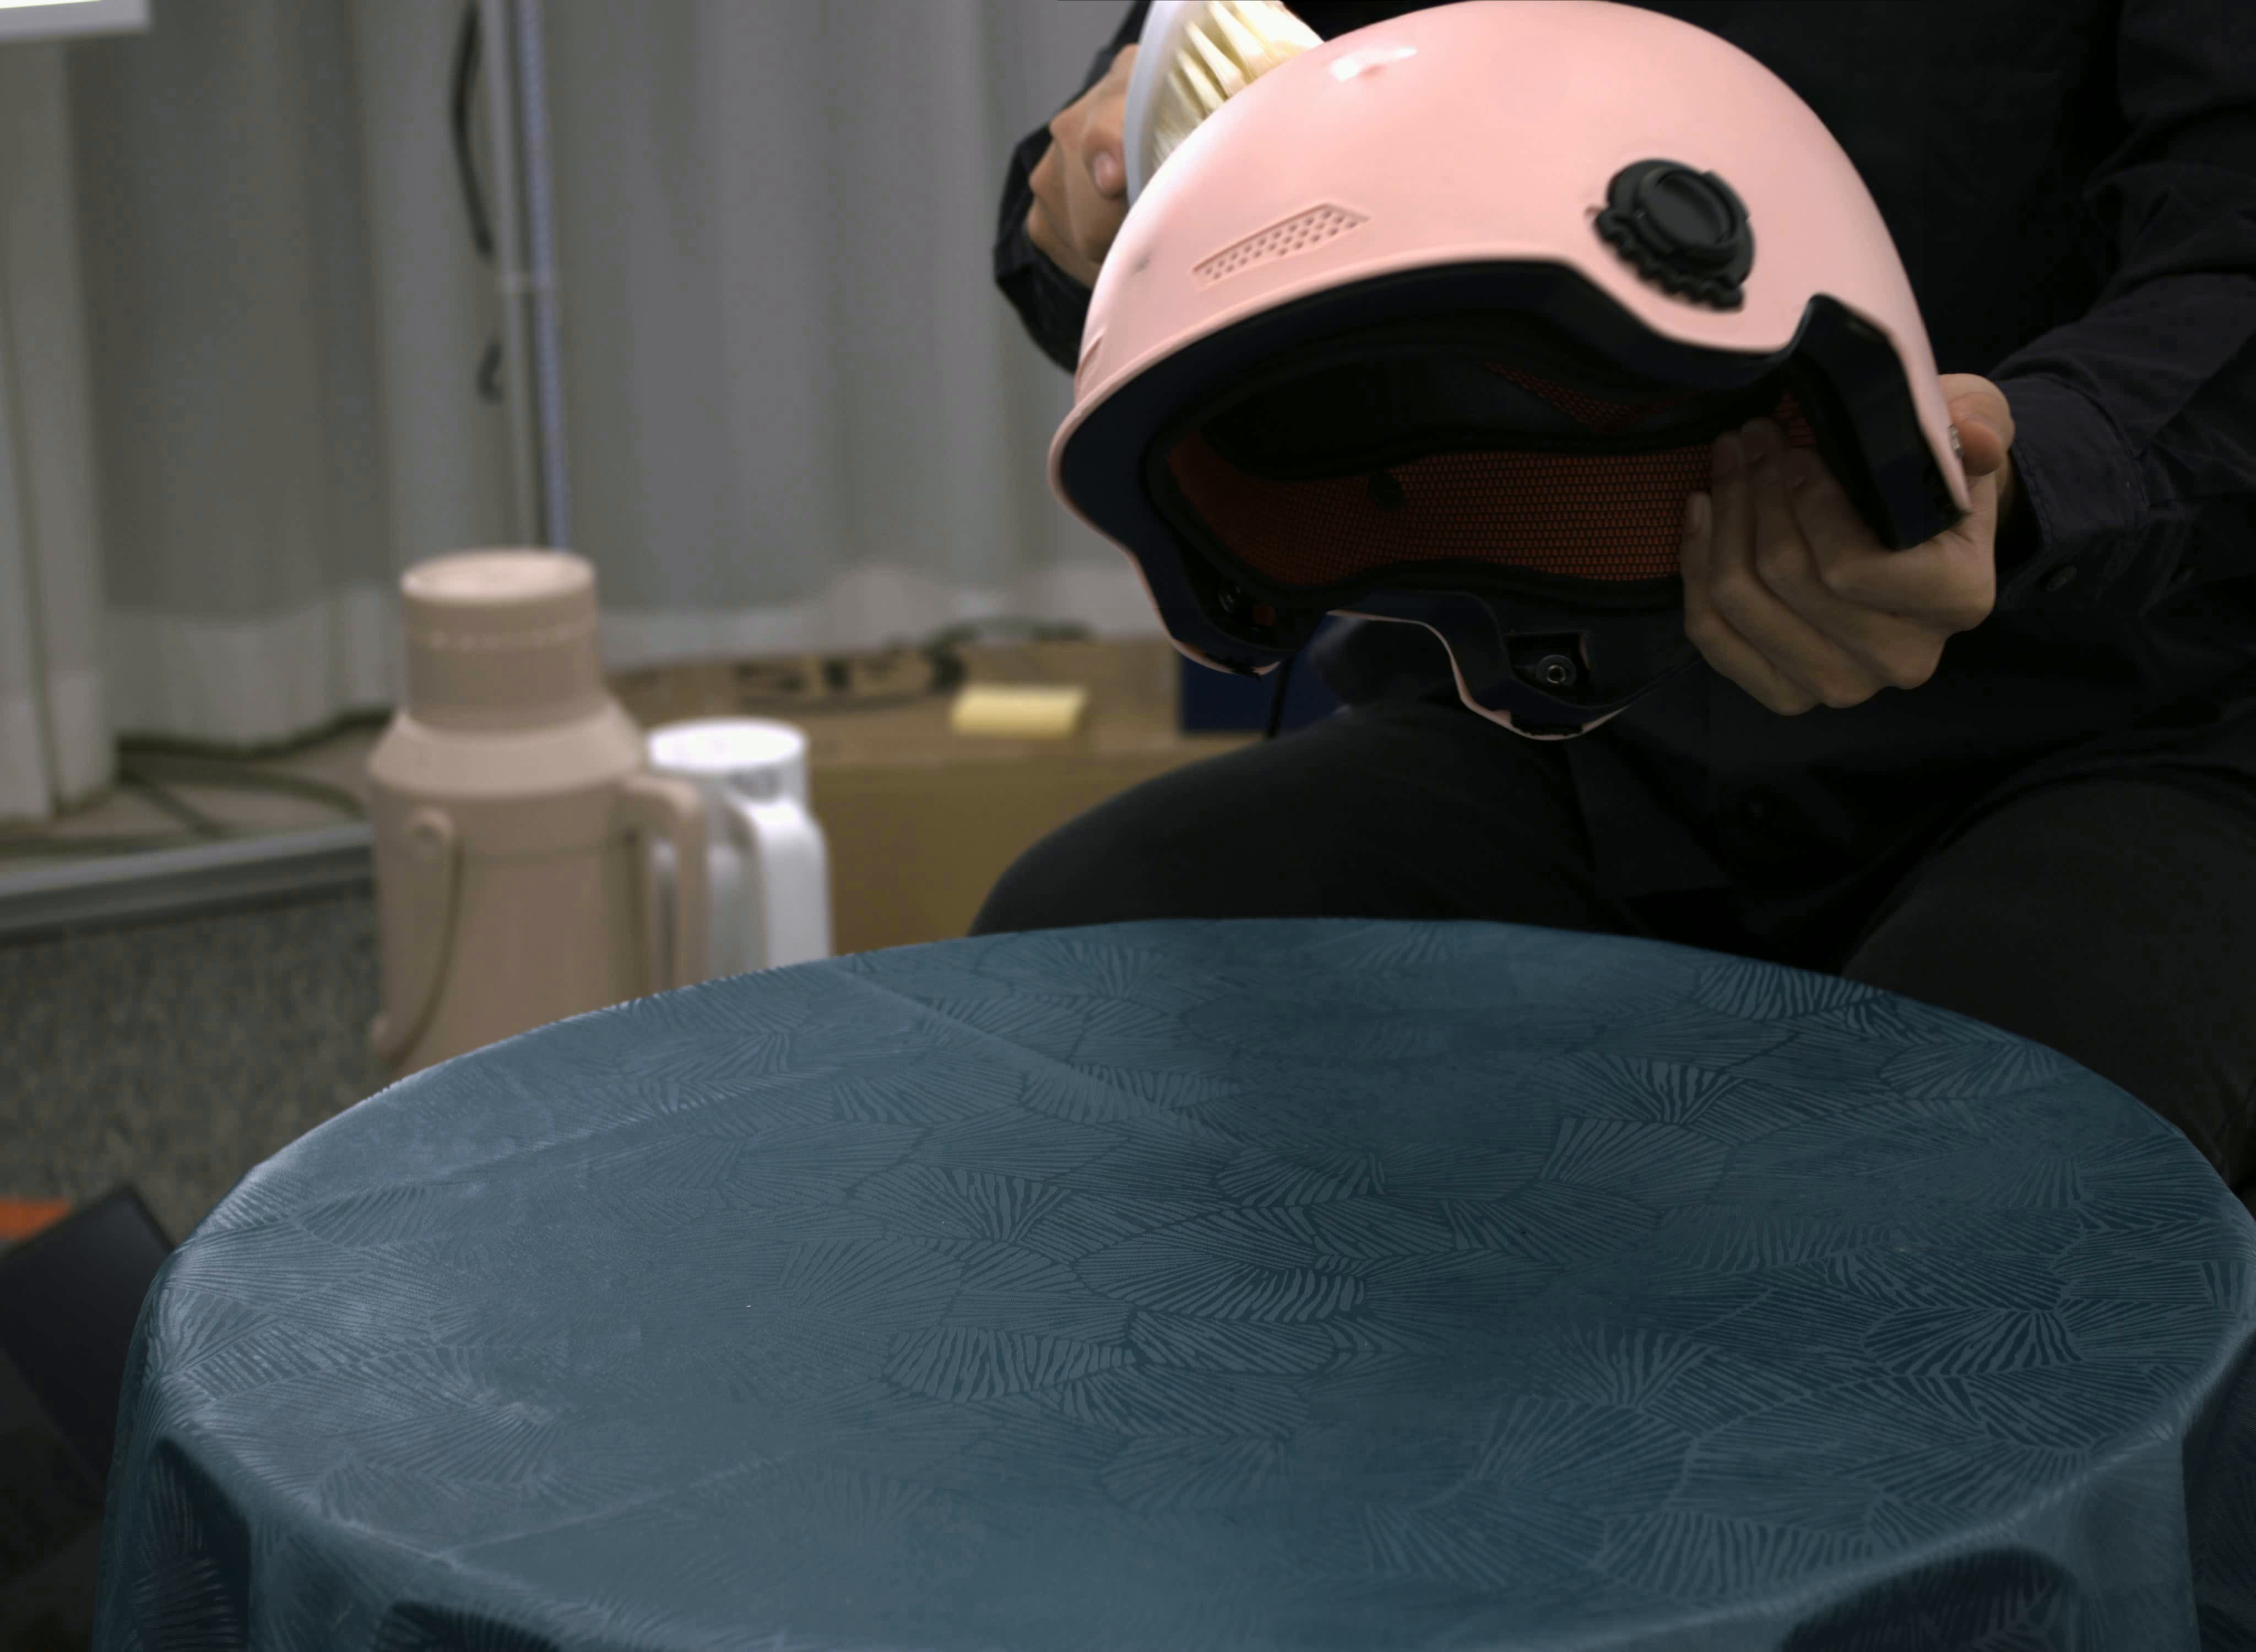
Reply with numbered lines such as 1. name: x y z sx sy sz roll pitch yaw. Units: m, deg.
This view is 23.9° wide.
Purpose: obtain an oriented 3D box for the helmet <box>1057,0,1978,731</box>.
1. helmet: 0.103 -0.147 1.491 0.259 0.160 0.237 14 -29 -33

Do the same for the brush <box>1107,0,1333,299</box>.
1. brush: 0.038 -0.186 1.665 0.082 0.085 0.325 1 -10 -2
